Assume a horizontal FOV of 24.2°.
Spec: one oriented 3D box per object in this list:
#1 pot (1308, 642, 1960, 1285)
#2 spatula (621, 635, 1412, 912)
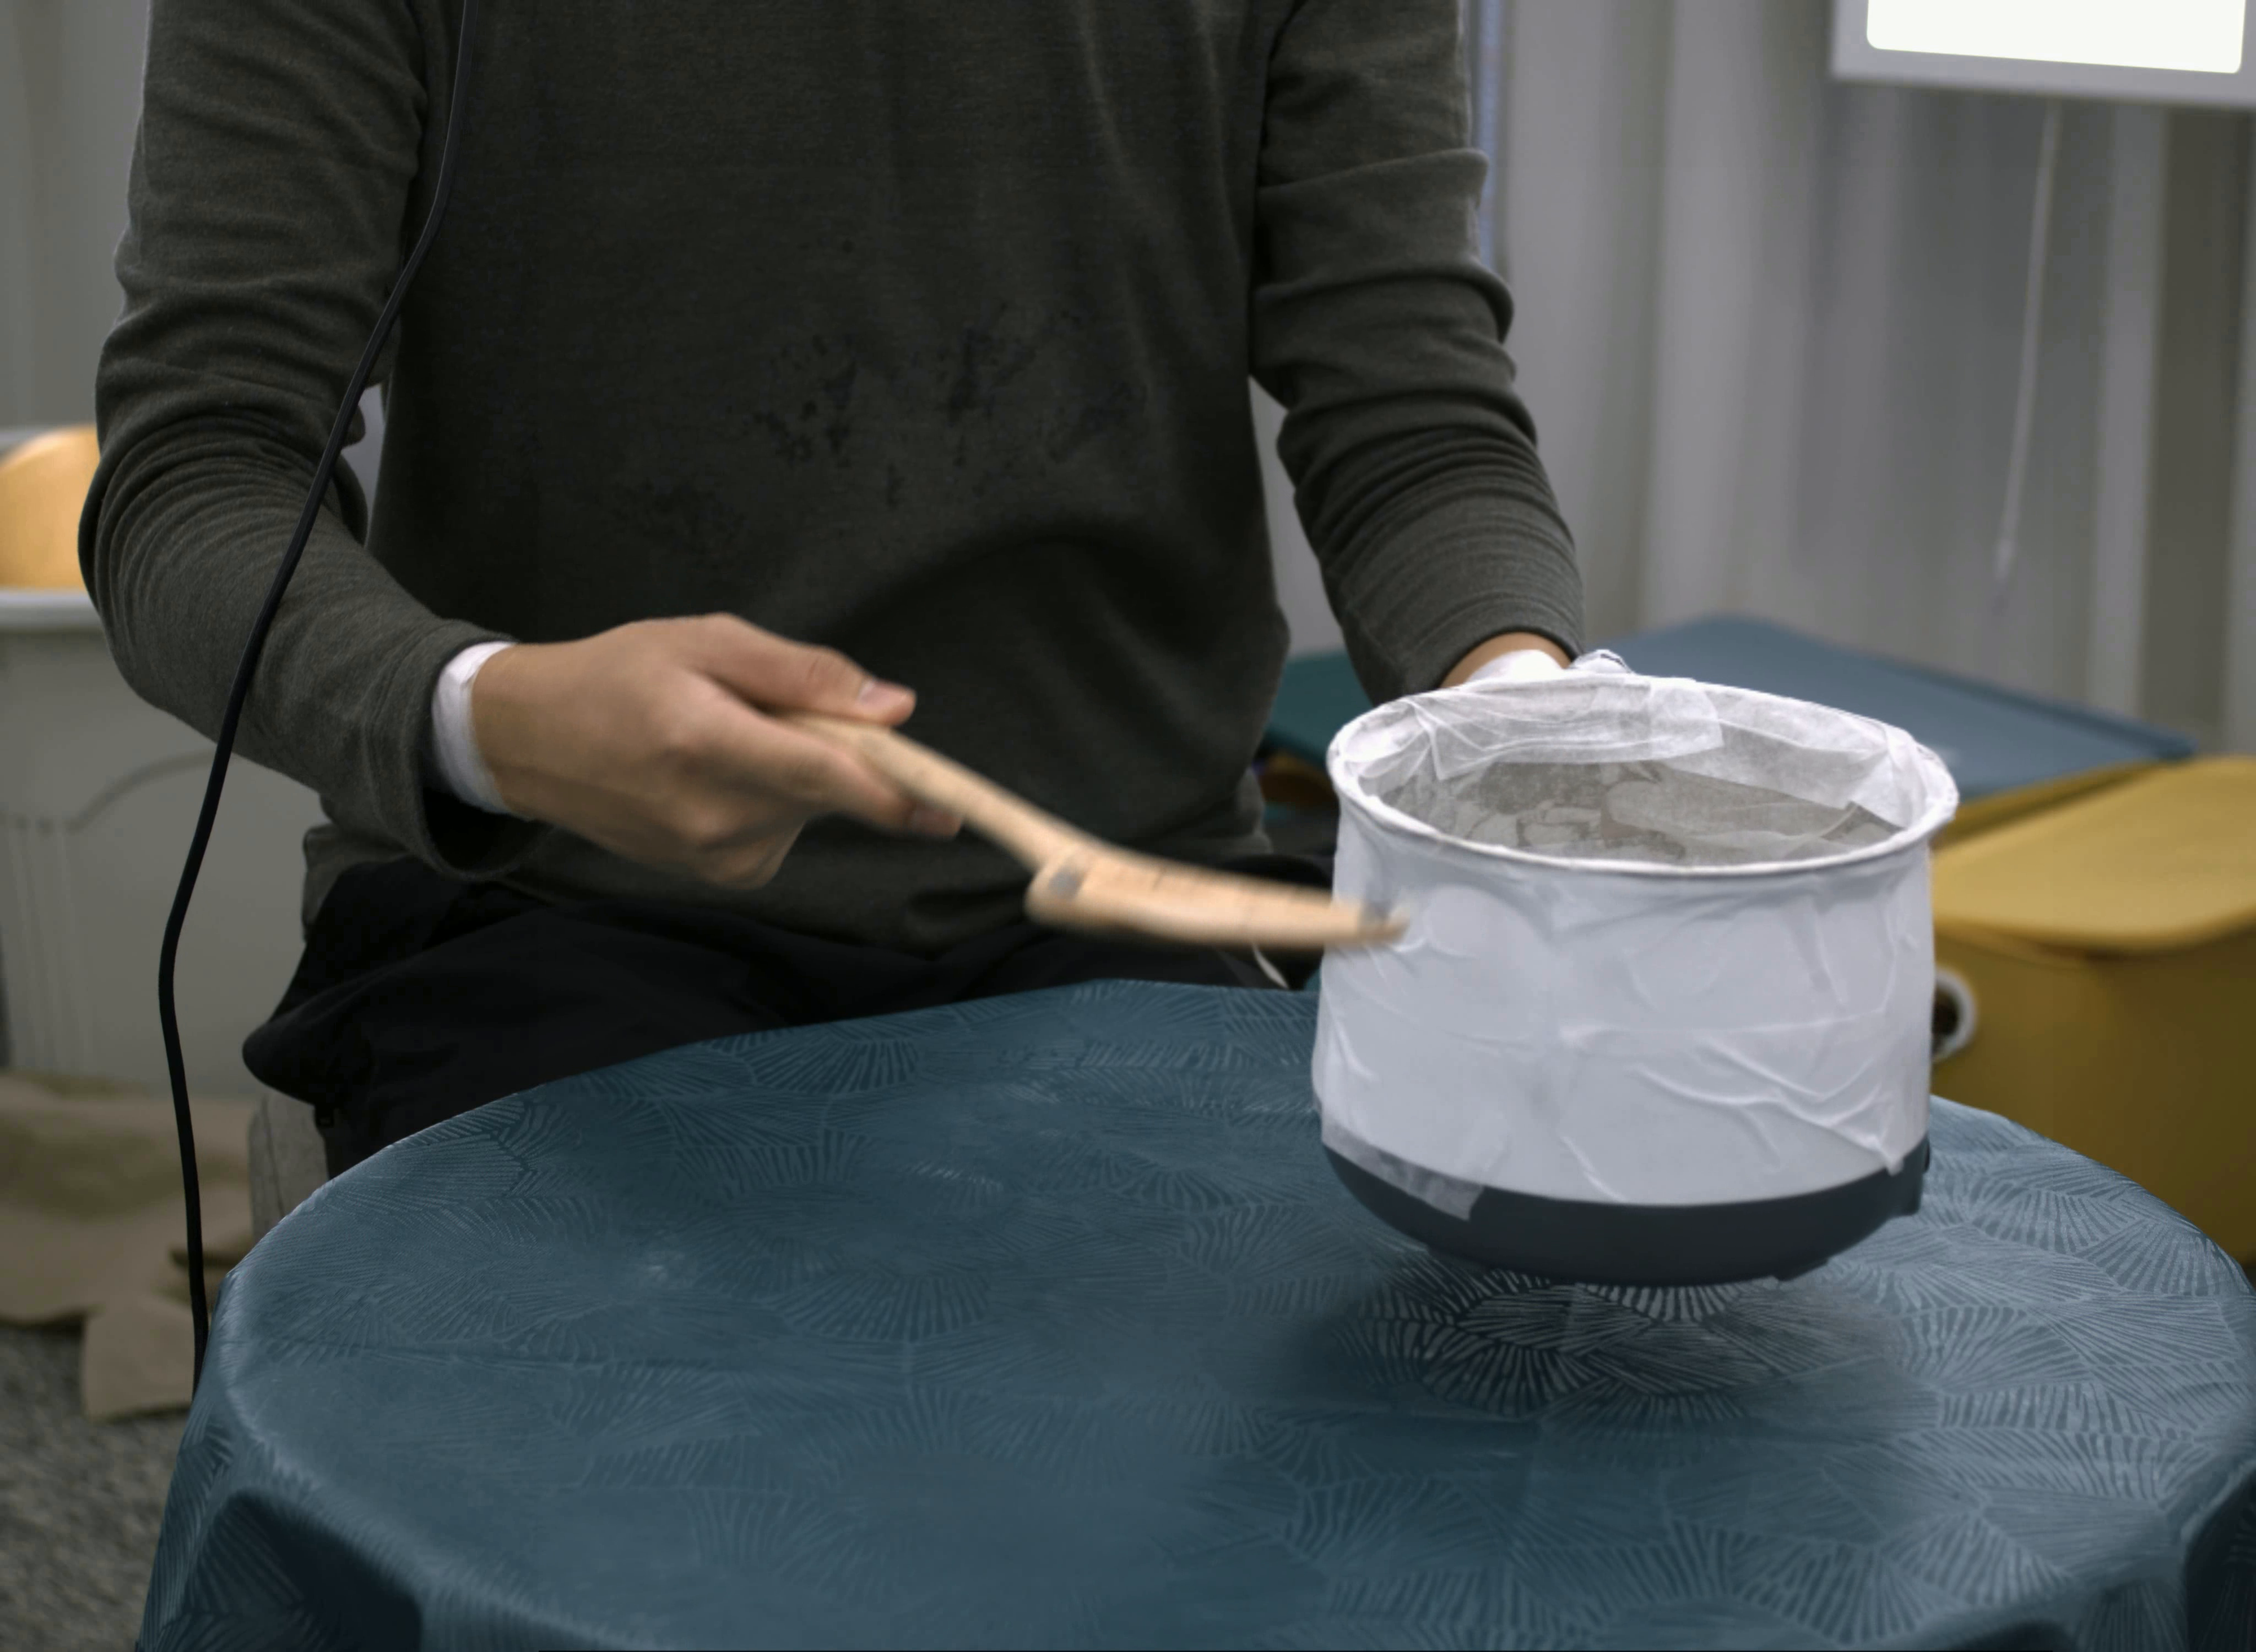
[{"bbox_3d":[0.139,0.033,1.513,0.178,0.138,0.232,2,19,-4],"label":"pot"},{"bbox_3d":[-0.056,-0.018,1.479,0.096,0.018,0.386,5,10,-33],"label":"spatula"}]
